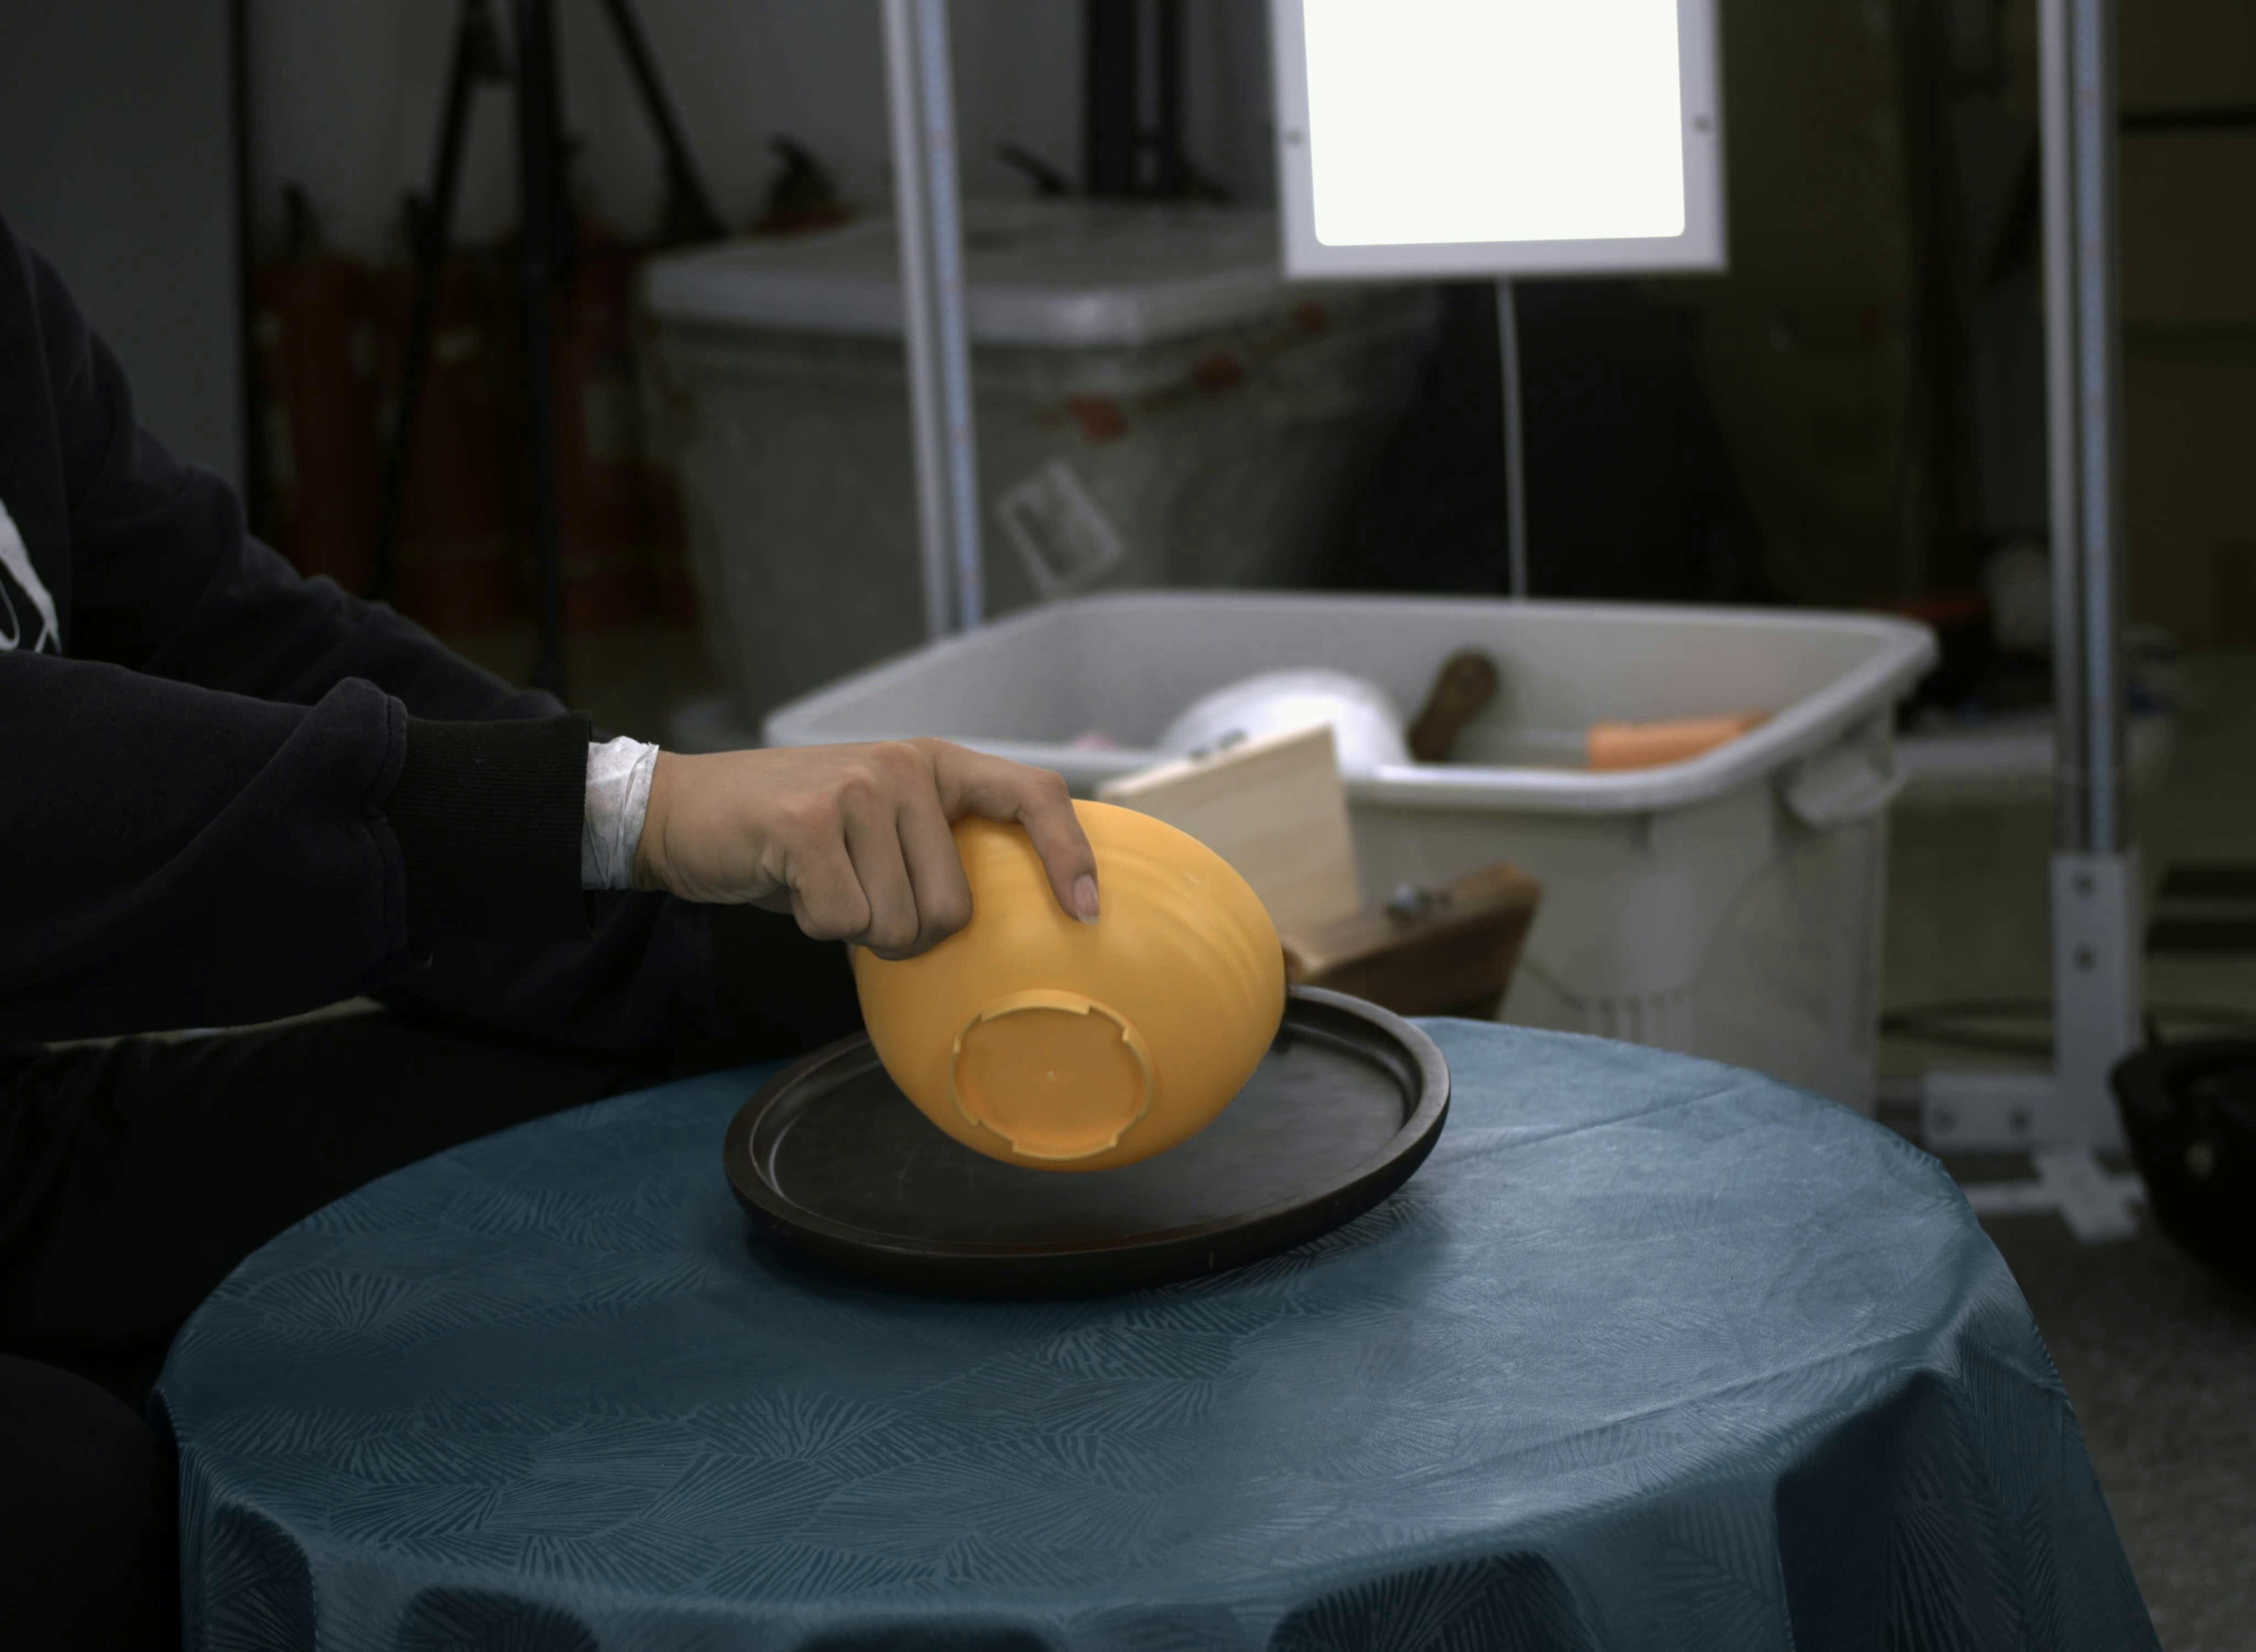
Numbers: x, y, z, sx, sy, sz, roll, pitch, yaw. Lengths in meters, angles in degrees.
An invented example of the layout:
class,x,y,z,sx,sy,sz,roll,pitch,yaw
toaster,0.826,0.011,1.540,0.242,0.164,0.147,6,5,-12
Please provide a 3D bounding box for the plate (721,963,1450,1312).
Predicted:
class,x,y,z,sx,sy,sz,roll,pitch,yaw
plate,-0.014,0.106,1.897,0.254,0.029,0.254,-8,20,1

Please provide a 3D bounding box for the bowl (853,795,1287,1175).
class,x,y,z,sx,sy,sz,roll,pitch,yaw
bowl,-0.020,0.065,1.785,0.146,0.146,0.060,-2,37,8
